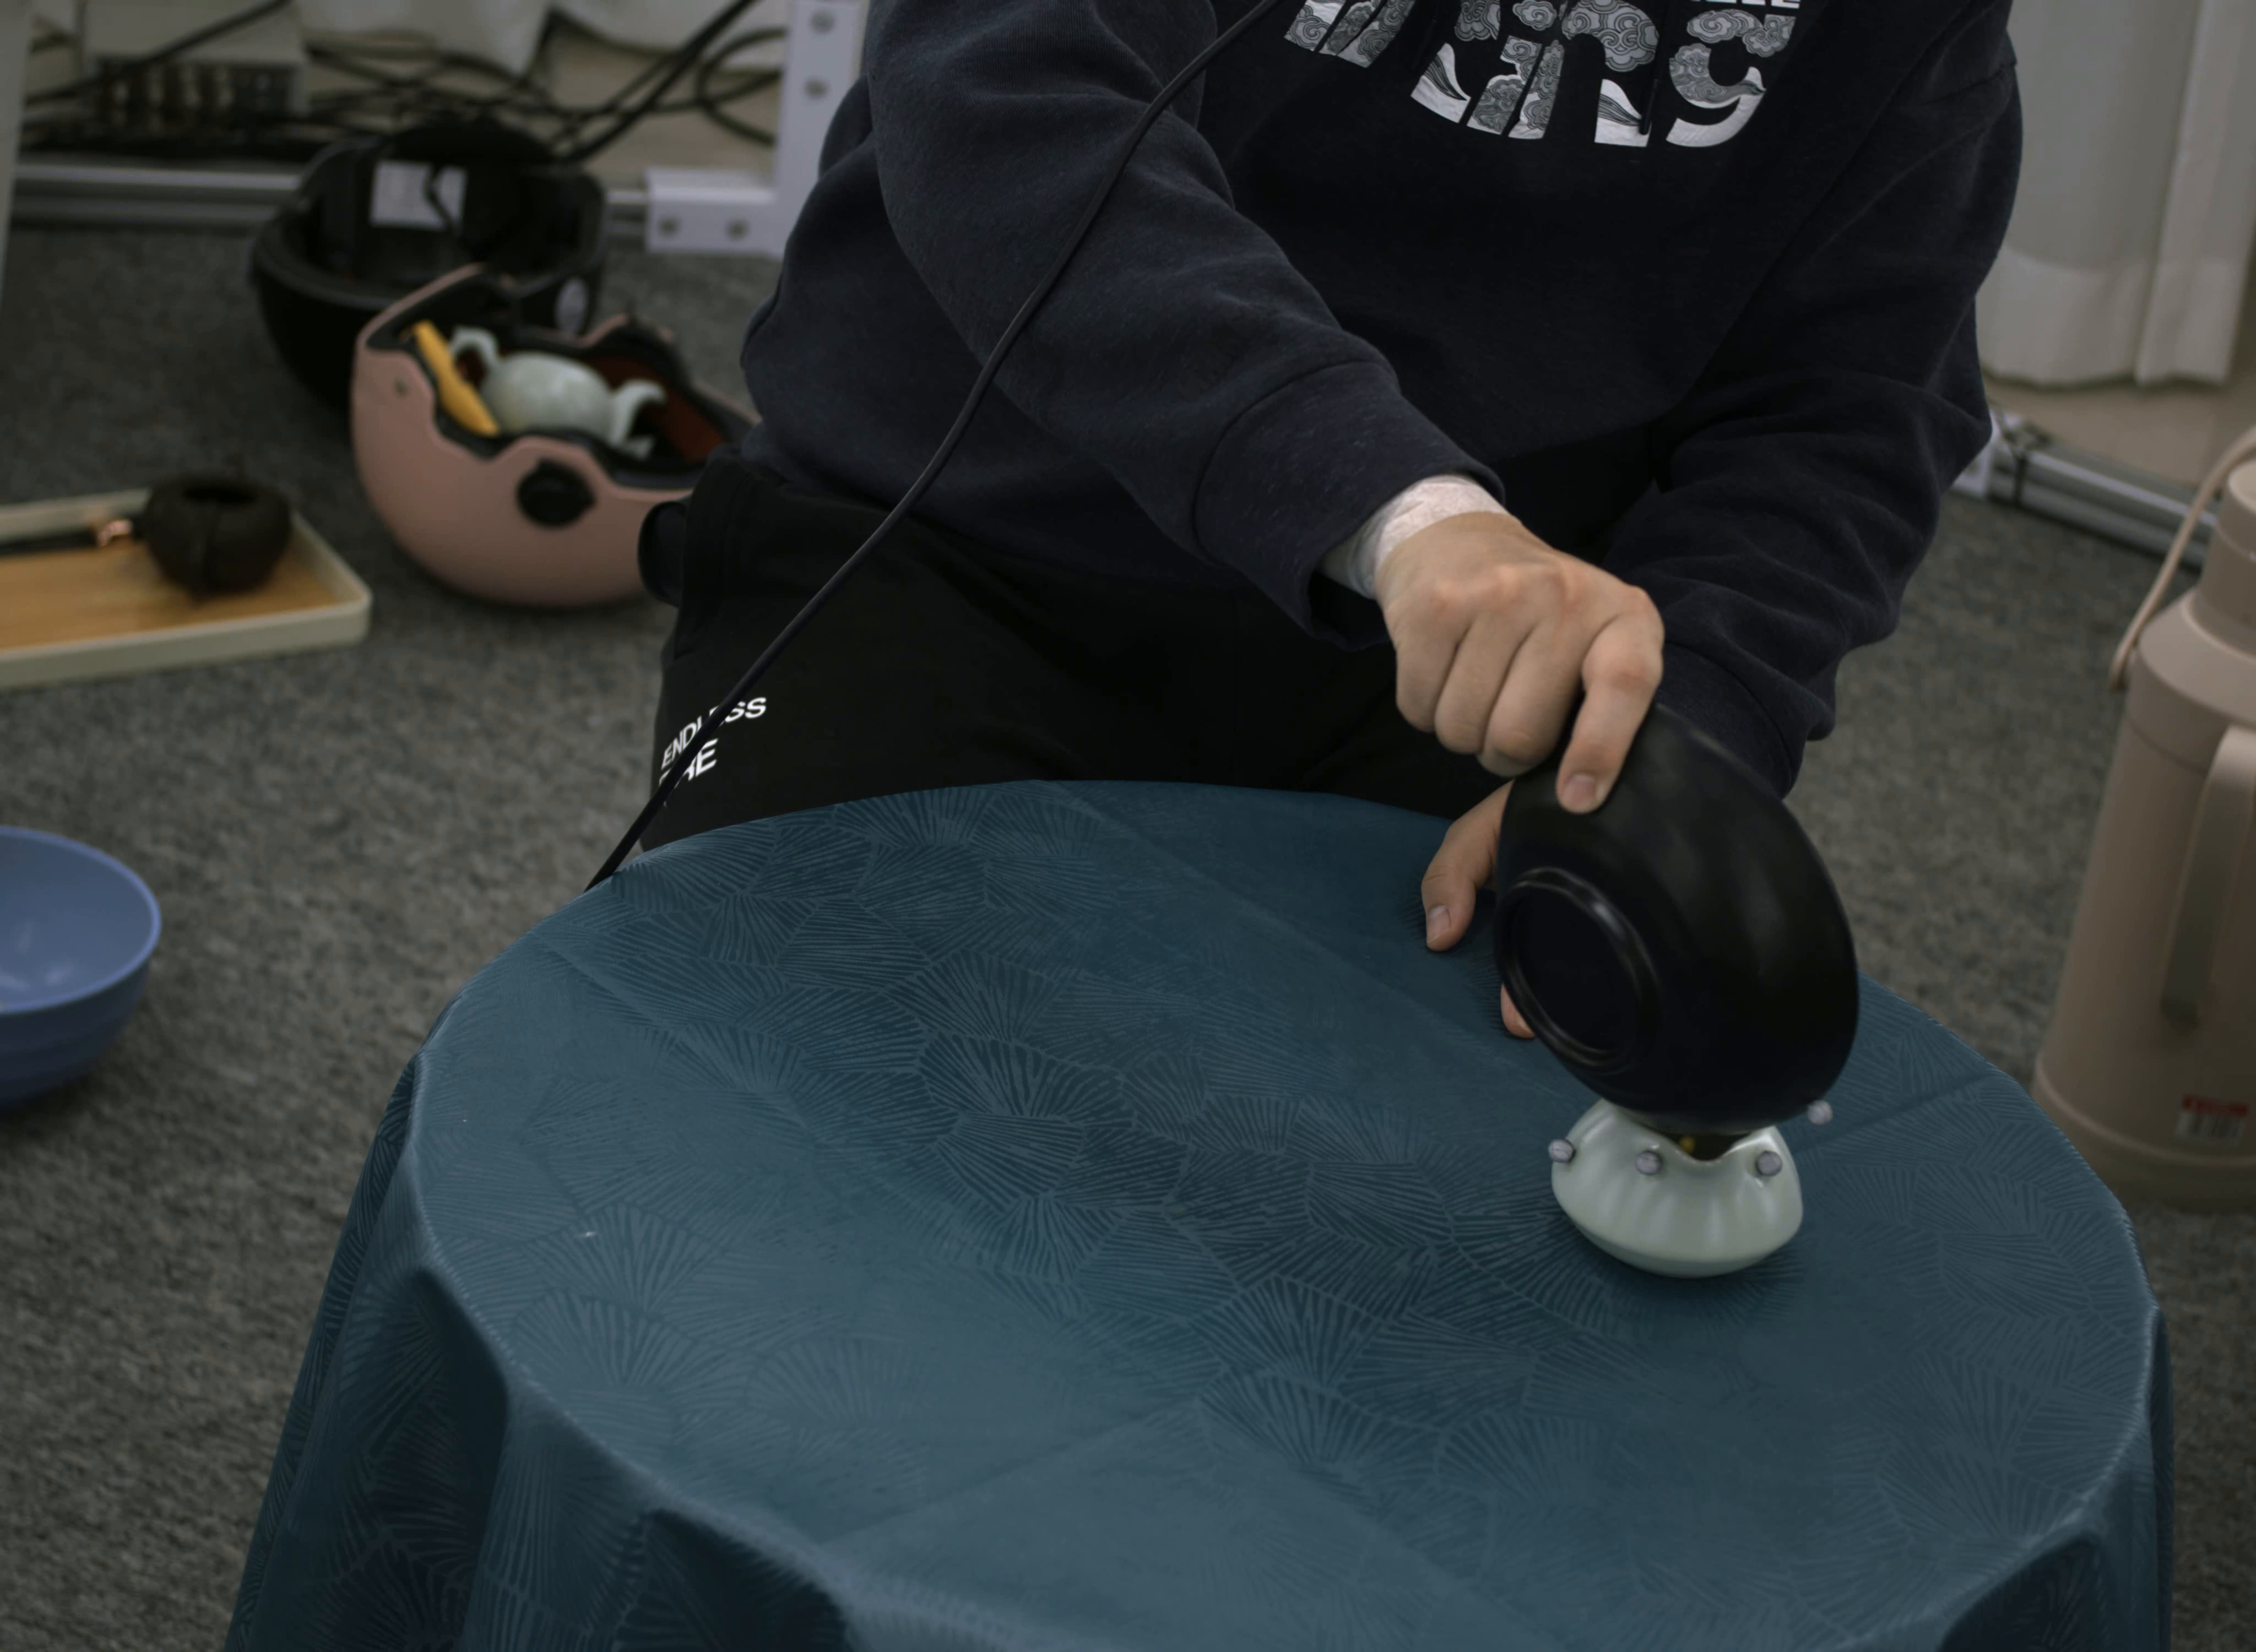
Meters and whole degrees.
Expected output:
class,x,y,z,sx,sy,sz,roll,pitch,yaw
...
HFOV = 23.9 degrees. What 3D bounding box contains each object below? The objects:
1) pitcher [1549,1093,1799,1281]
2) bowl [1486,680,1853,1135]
class,x,y,z,sx,sy,sz,roll,pitch,yaw
pitcher,0.186,0.112,1.813,0.085,0.060,0.108,6,25,-4
bowl,0.163,0.037,1.722,0.066,0.169,0.138,-31,38,-31
